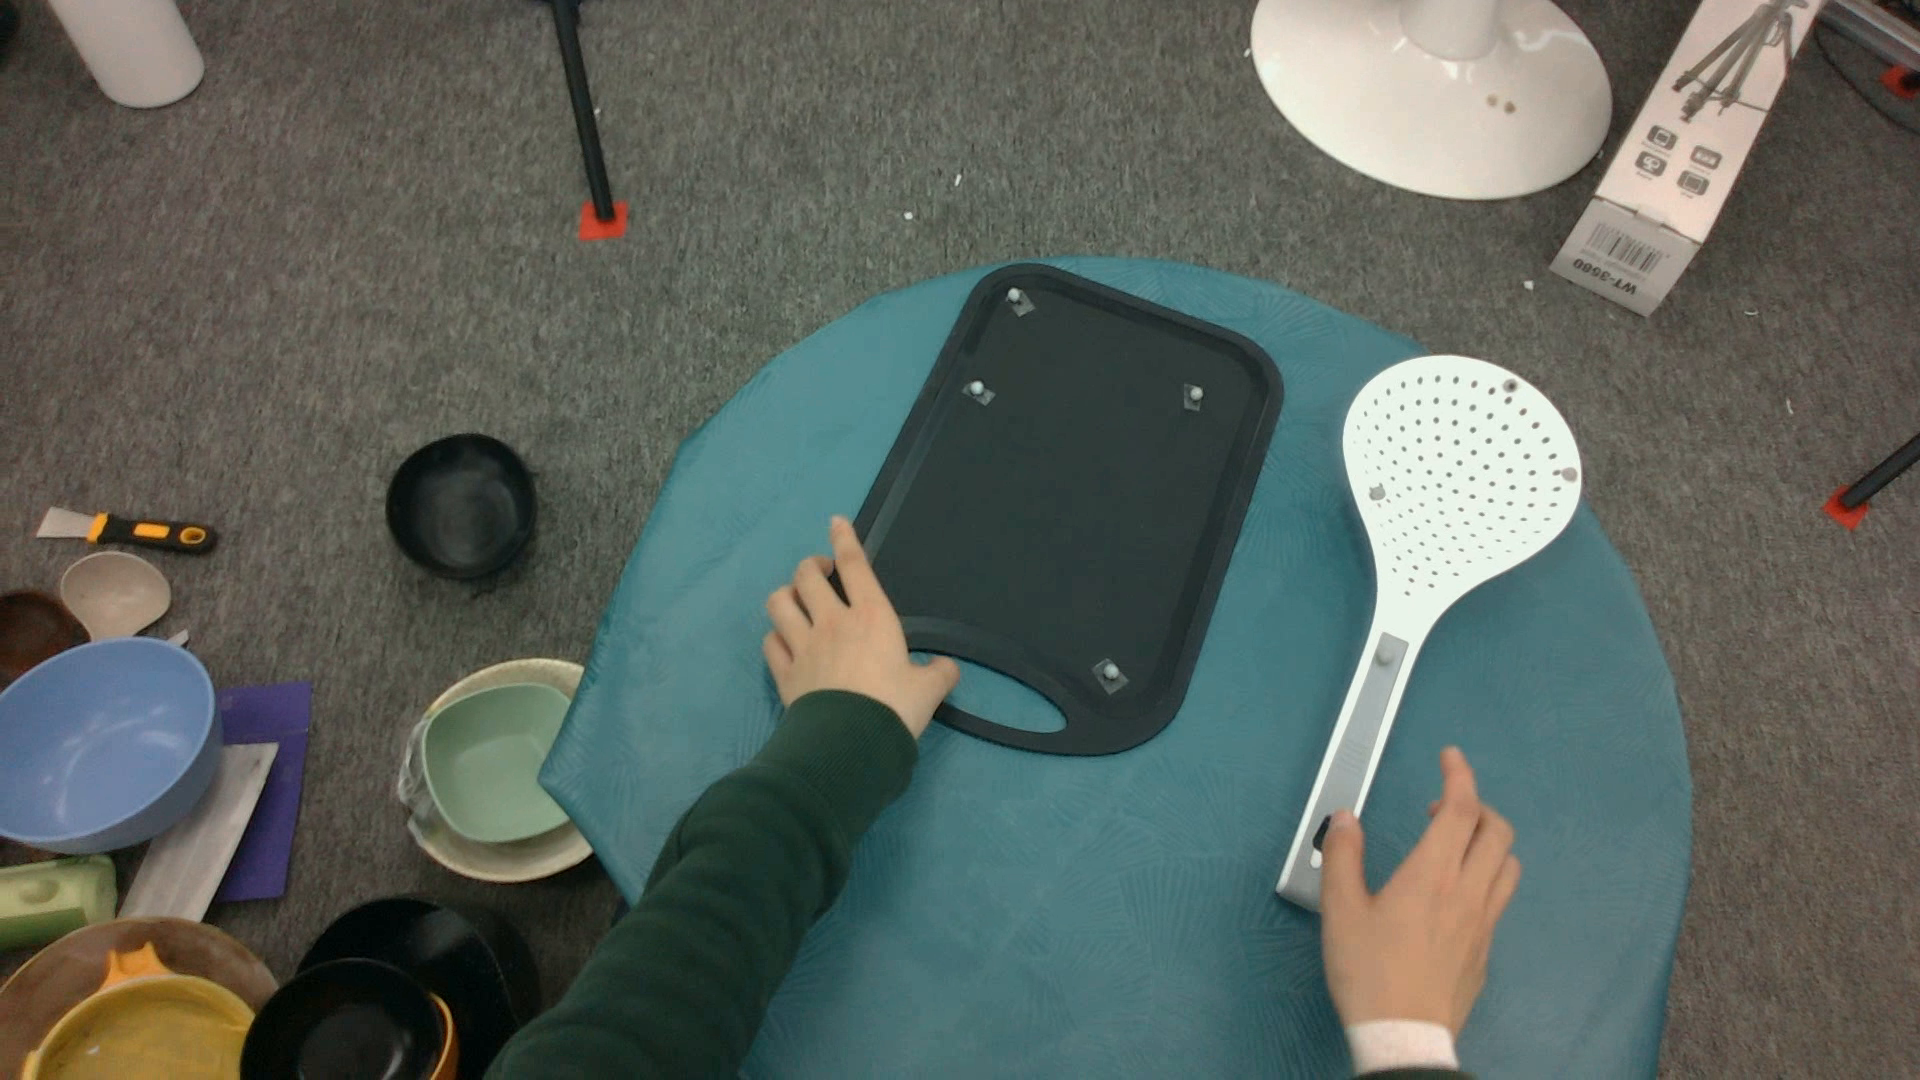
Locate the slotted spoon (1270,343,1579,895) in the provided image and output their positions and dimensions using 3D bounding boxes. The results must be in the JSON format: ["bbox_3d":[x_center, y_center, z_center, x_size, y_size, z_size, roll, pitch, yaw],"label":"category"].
[{"bbox_3d":[0.245,0.034,0.765,0.136,0.045,0.351,24,62,10],"label":"slotted spoon"}]

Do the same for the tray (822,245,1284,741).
[{"bbox_3d":[0.060,-0.037,0.807,0.211,0.010,0.327,21,61,6],"label":"tray"}]
